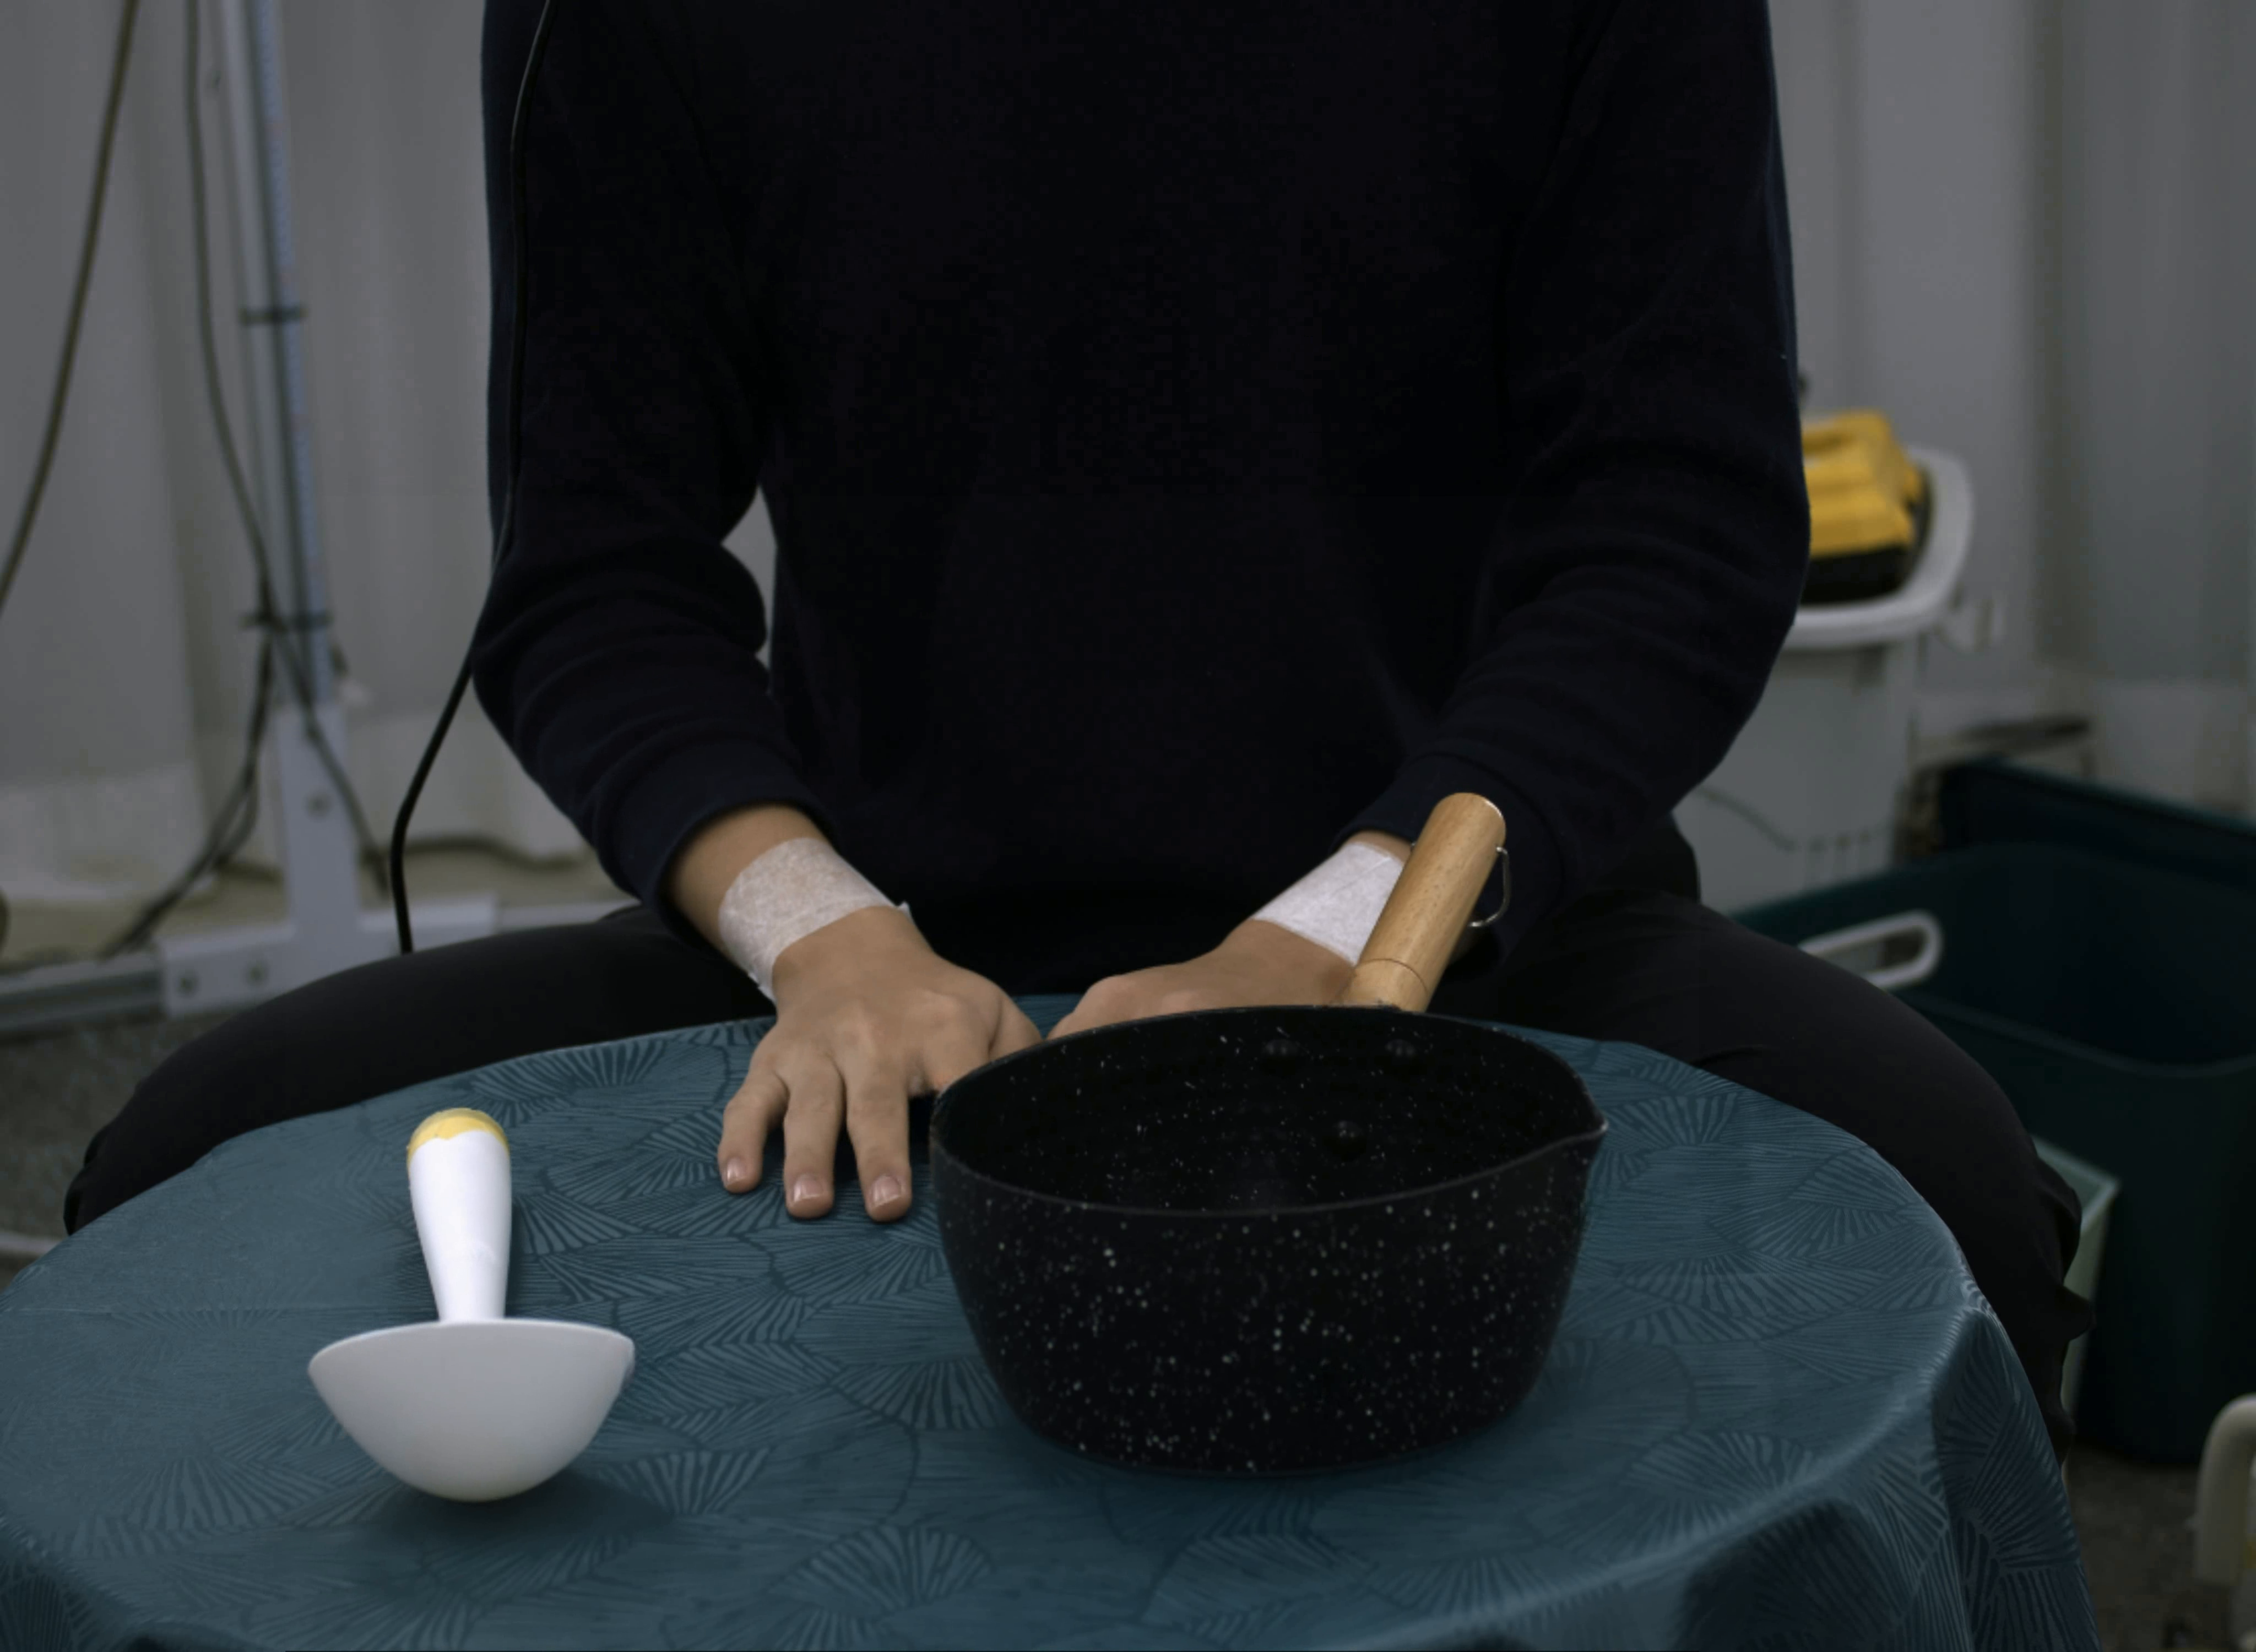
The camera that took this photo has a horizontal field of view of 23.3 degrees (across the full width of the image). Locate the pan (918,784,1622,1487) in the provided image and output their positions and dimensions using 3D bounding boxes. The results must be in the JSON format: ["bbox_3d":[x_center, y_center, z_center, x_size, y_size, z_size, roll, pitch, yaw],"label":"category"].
[{"bbox_3d":[0.060,0.085,1.606,0.207,0.108,0.344,0,17,17],"label":"pan"}]

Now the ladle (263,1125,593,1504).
[{"bbox_3d":[-0.199,0.127,1.587,0.090,0.069,0.295,-10,15,-4],"label":"ladle"}]
